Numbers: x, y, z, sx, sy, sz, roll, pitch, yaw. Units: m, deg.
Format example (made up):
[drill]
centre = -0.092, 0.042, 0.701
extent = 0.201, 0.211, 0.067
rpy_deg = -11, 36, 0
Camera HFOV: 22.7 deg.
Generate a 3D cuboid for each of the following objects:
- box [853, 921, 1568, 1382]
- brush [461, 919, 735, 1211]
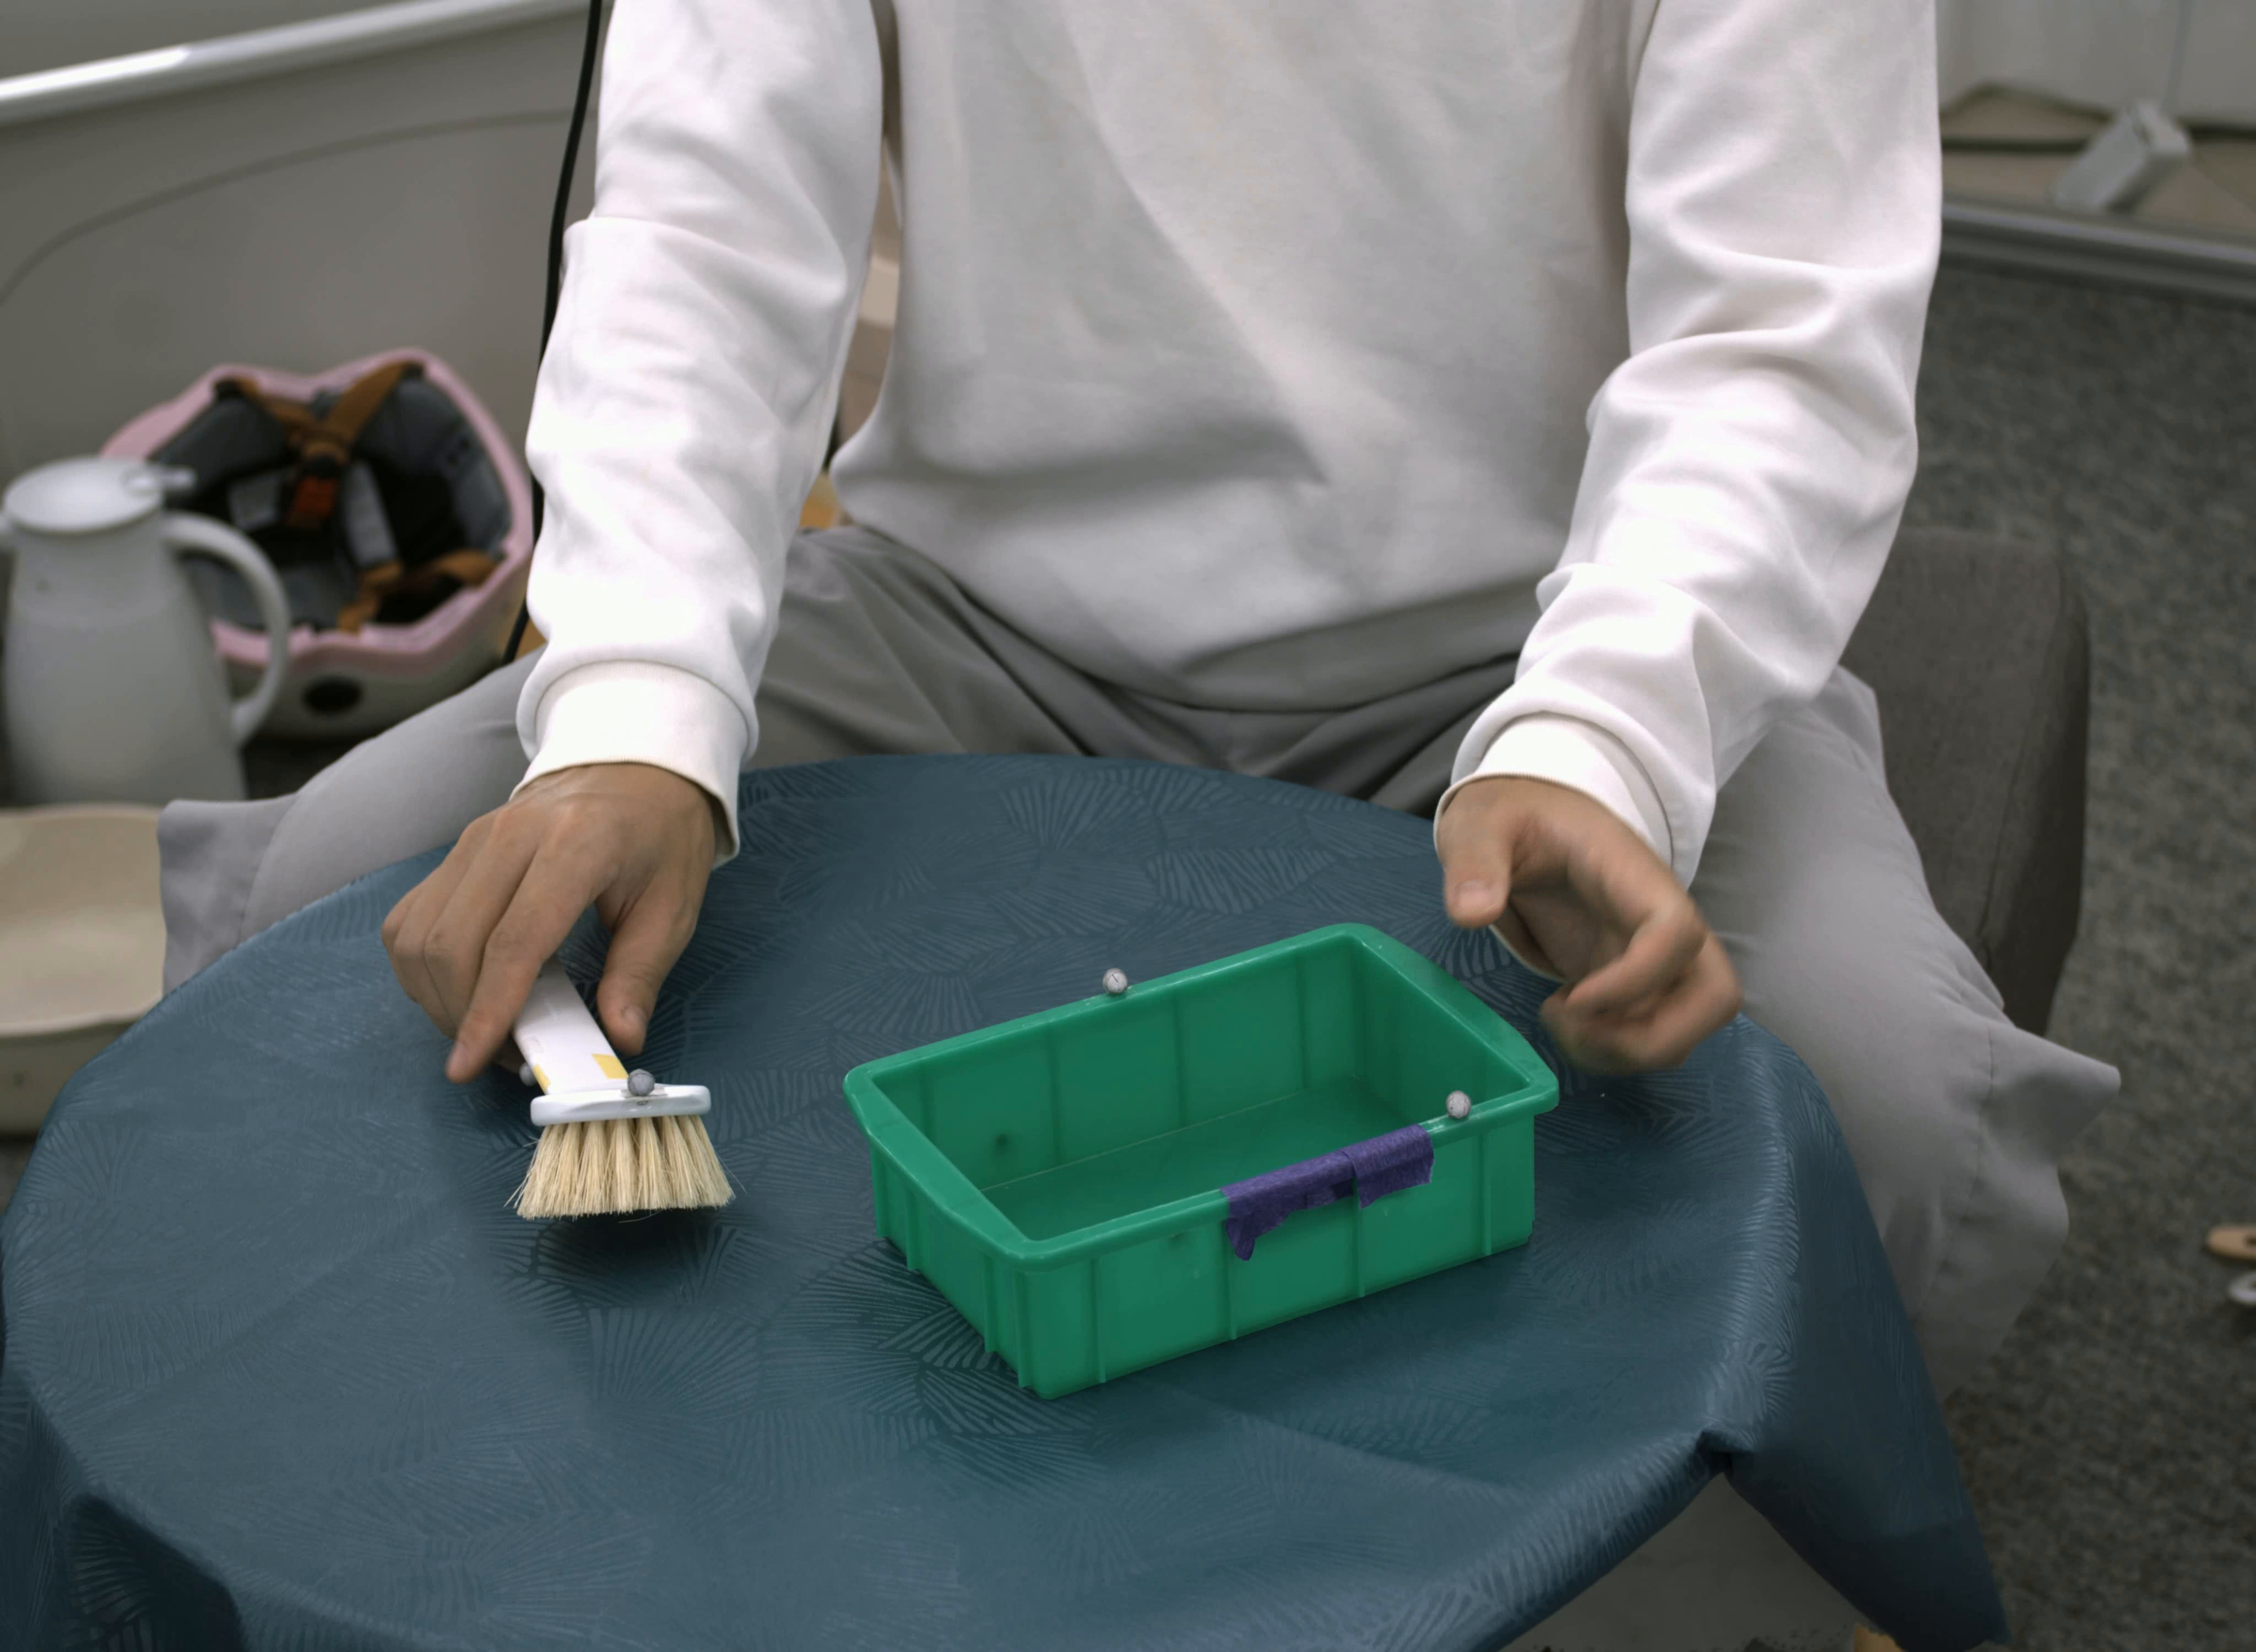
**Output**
[box]
centre = 0.027, 0.106, 1.825
extent = 0.211, 0.064, 0.139
rpy_deg = -14, 29, -26
[brush]
centre = -0.192, 0.084, 1.936
extent = 0.068, 0.056, 0.266
rpy_deg = 10, 6, -21
